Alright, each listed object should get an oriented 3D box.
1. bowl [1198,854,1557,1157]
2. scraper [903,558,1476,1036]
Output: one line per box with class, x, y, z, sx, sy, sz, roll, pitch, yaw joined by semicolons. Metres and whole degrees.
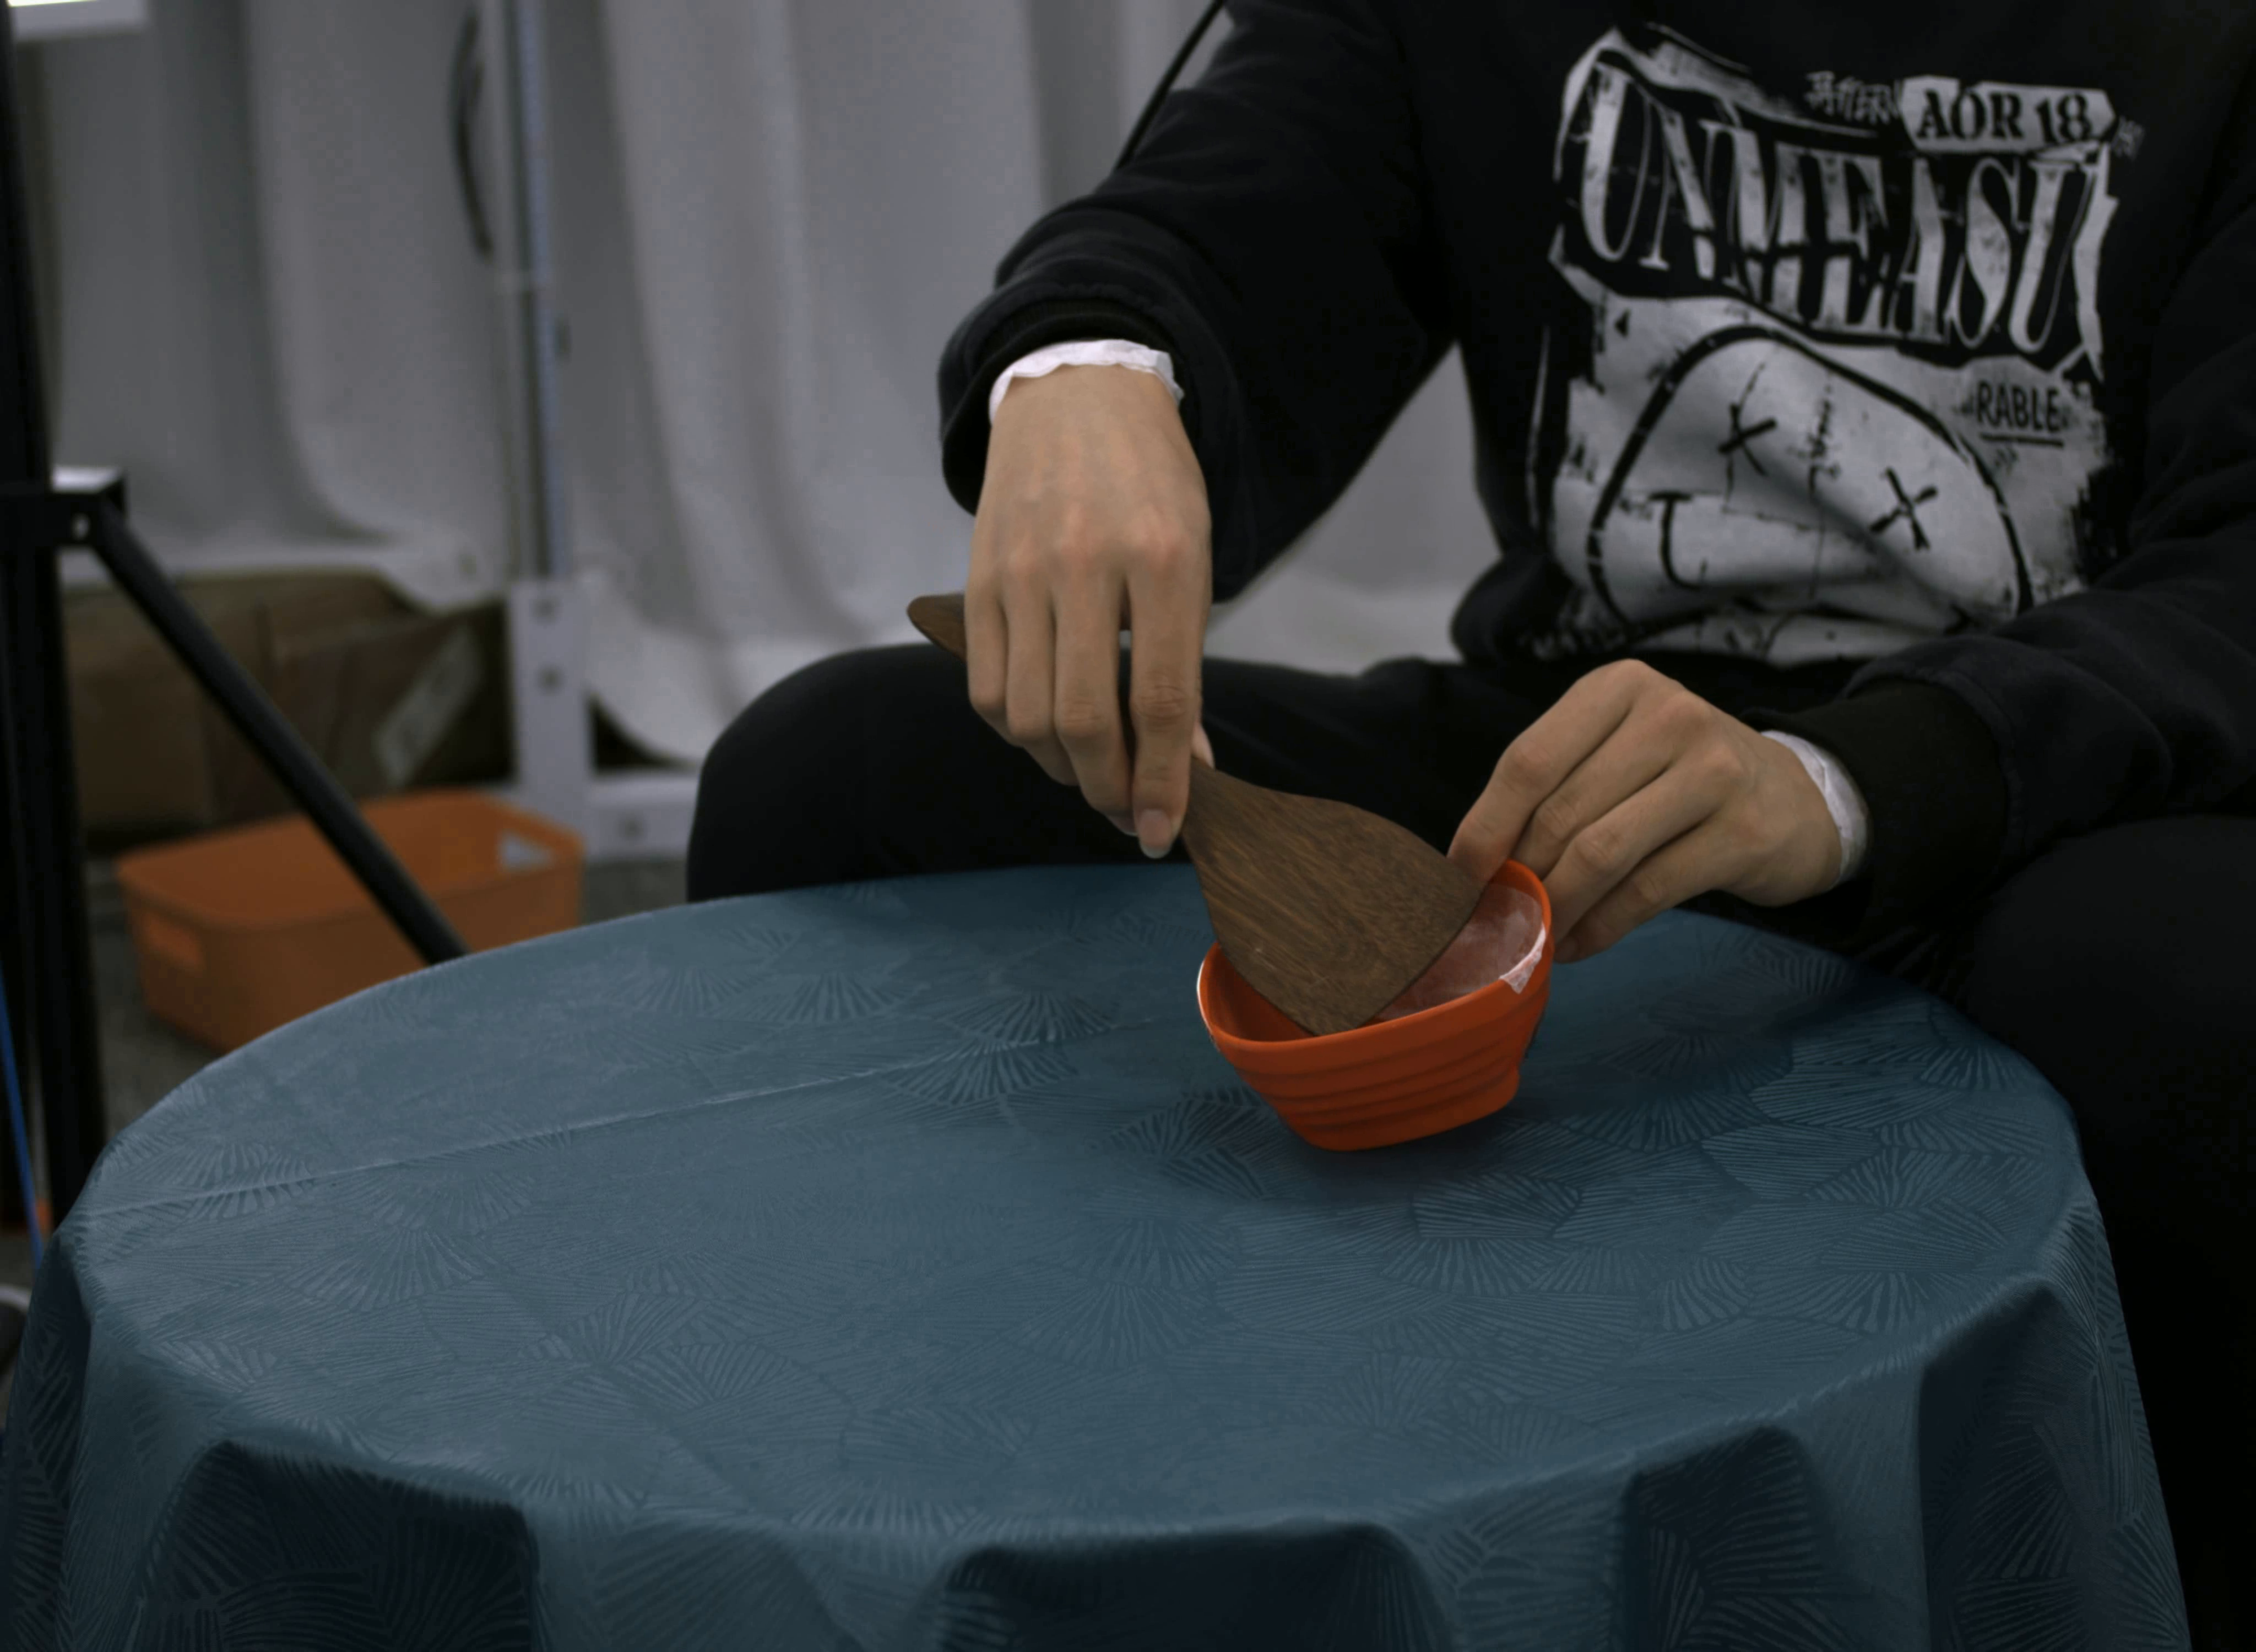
bowl;0.081;0.058;1.597;0.119;0.051;0.120;-17;23;6
scraper;0.011;-0.016;1.633;0.075;0.011;0.215;-42;65;-18
